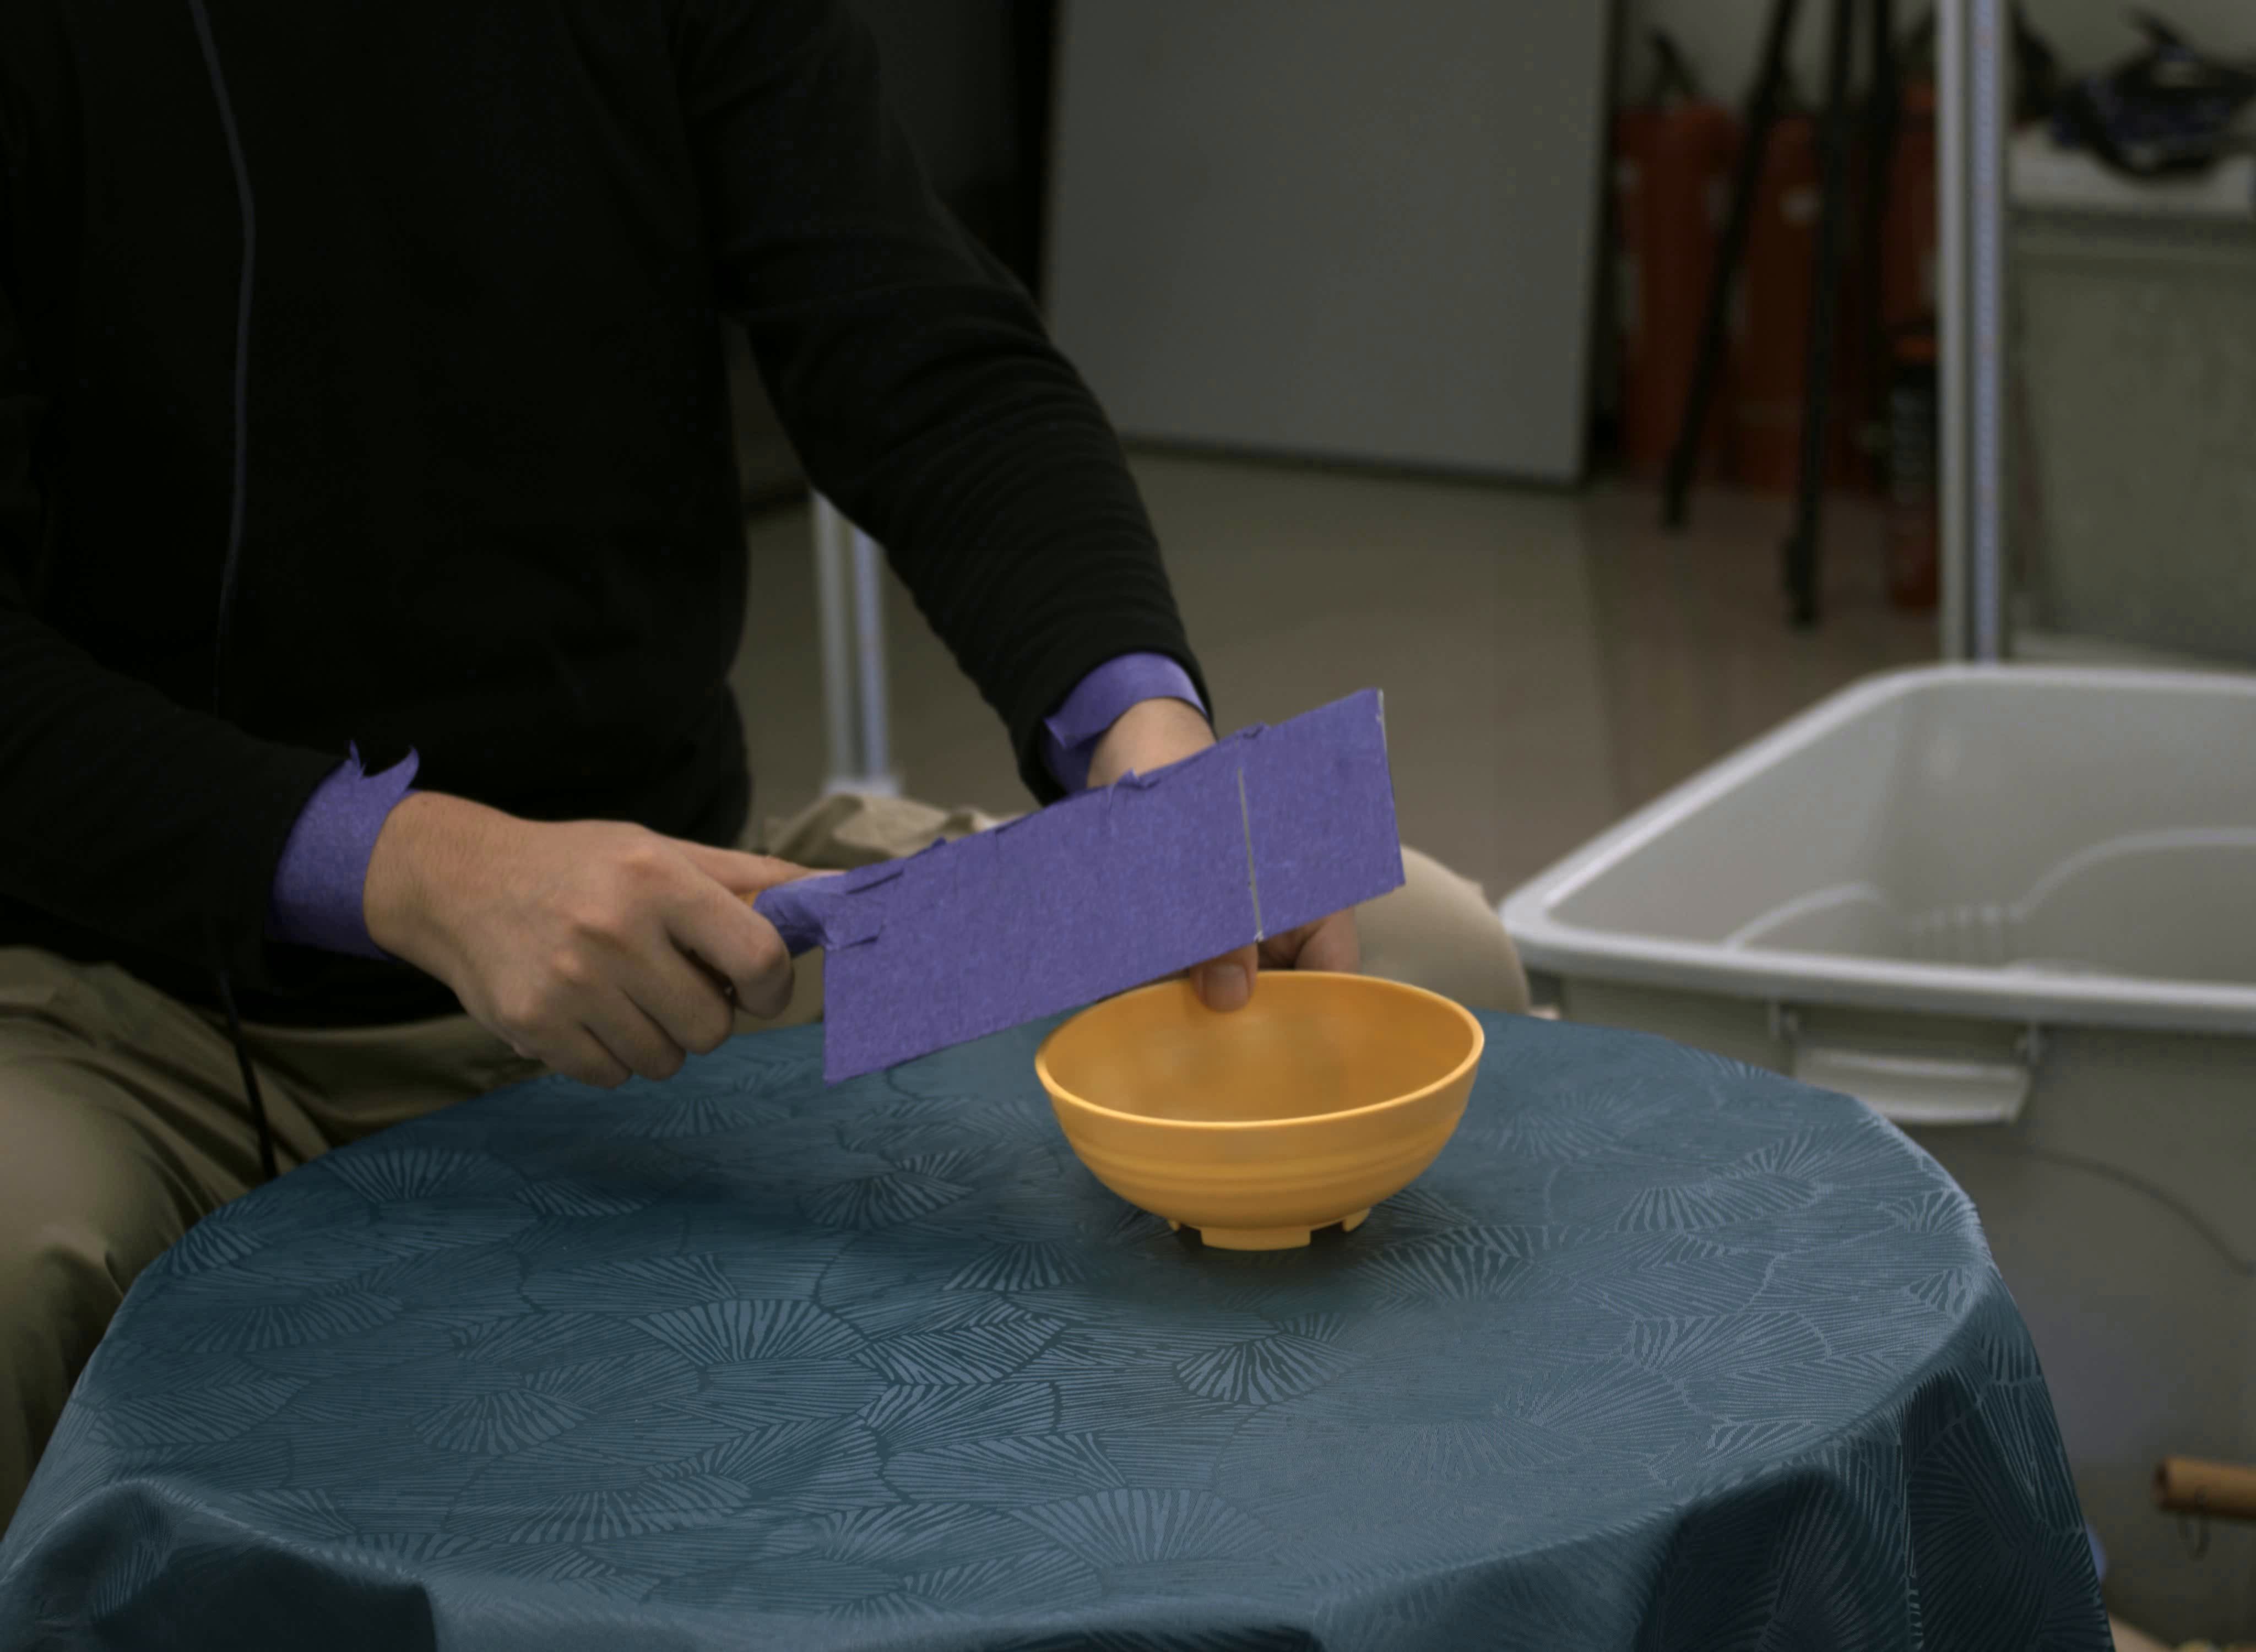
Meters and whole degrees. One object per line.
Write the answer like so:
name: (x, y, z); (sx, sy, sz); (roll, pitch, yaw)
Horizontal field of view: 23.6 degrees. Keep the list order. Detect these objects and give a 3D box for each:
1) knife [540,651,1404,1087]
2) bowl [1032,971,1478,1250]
knife: (-0.055, 0.033, 1.754); (0.315, 0.032, 0.105); (-23, 42, 20)
bowl: (0.042, 0.096, 1.728); (0.143, 0.061, 0.145); (-3, 16, 0)
